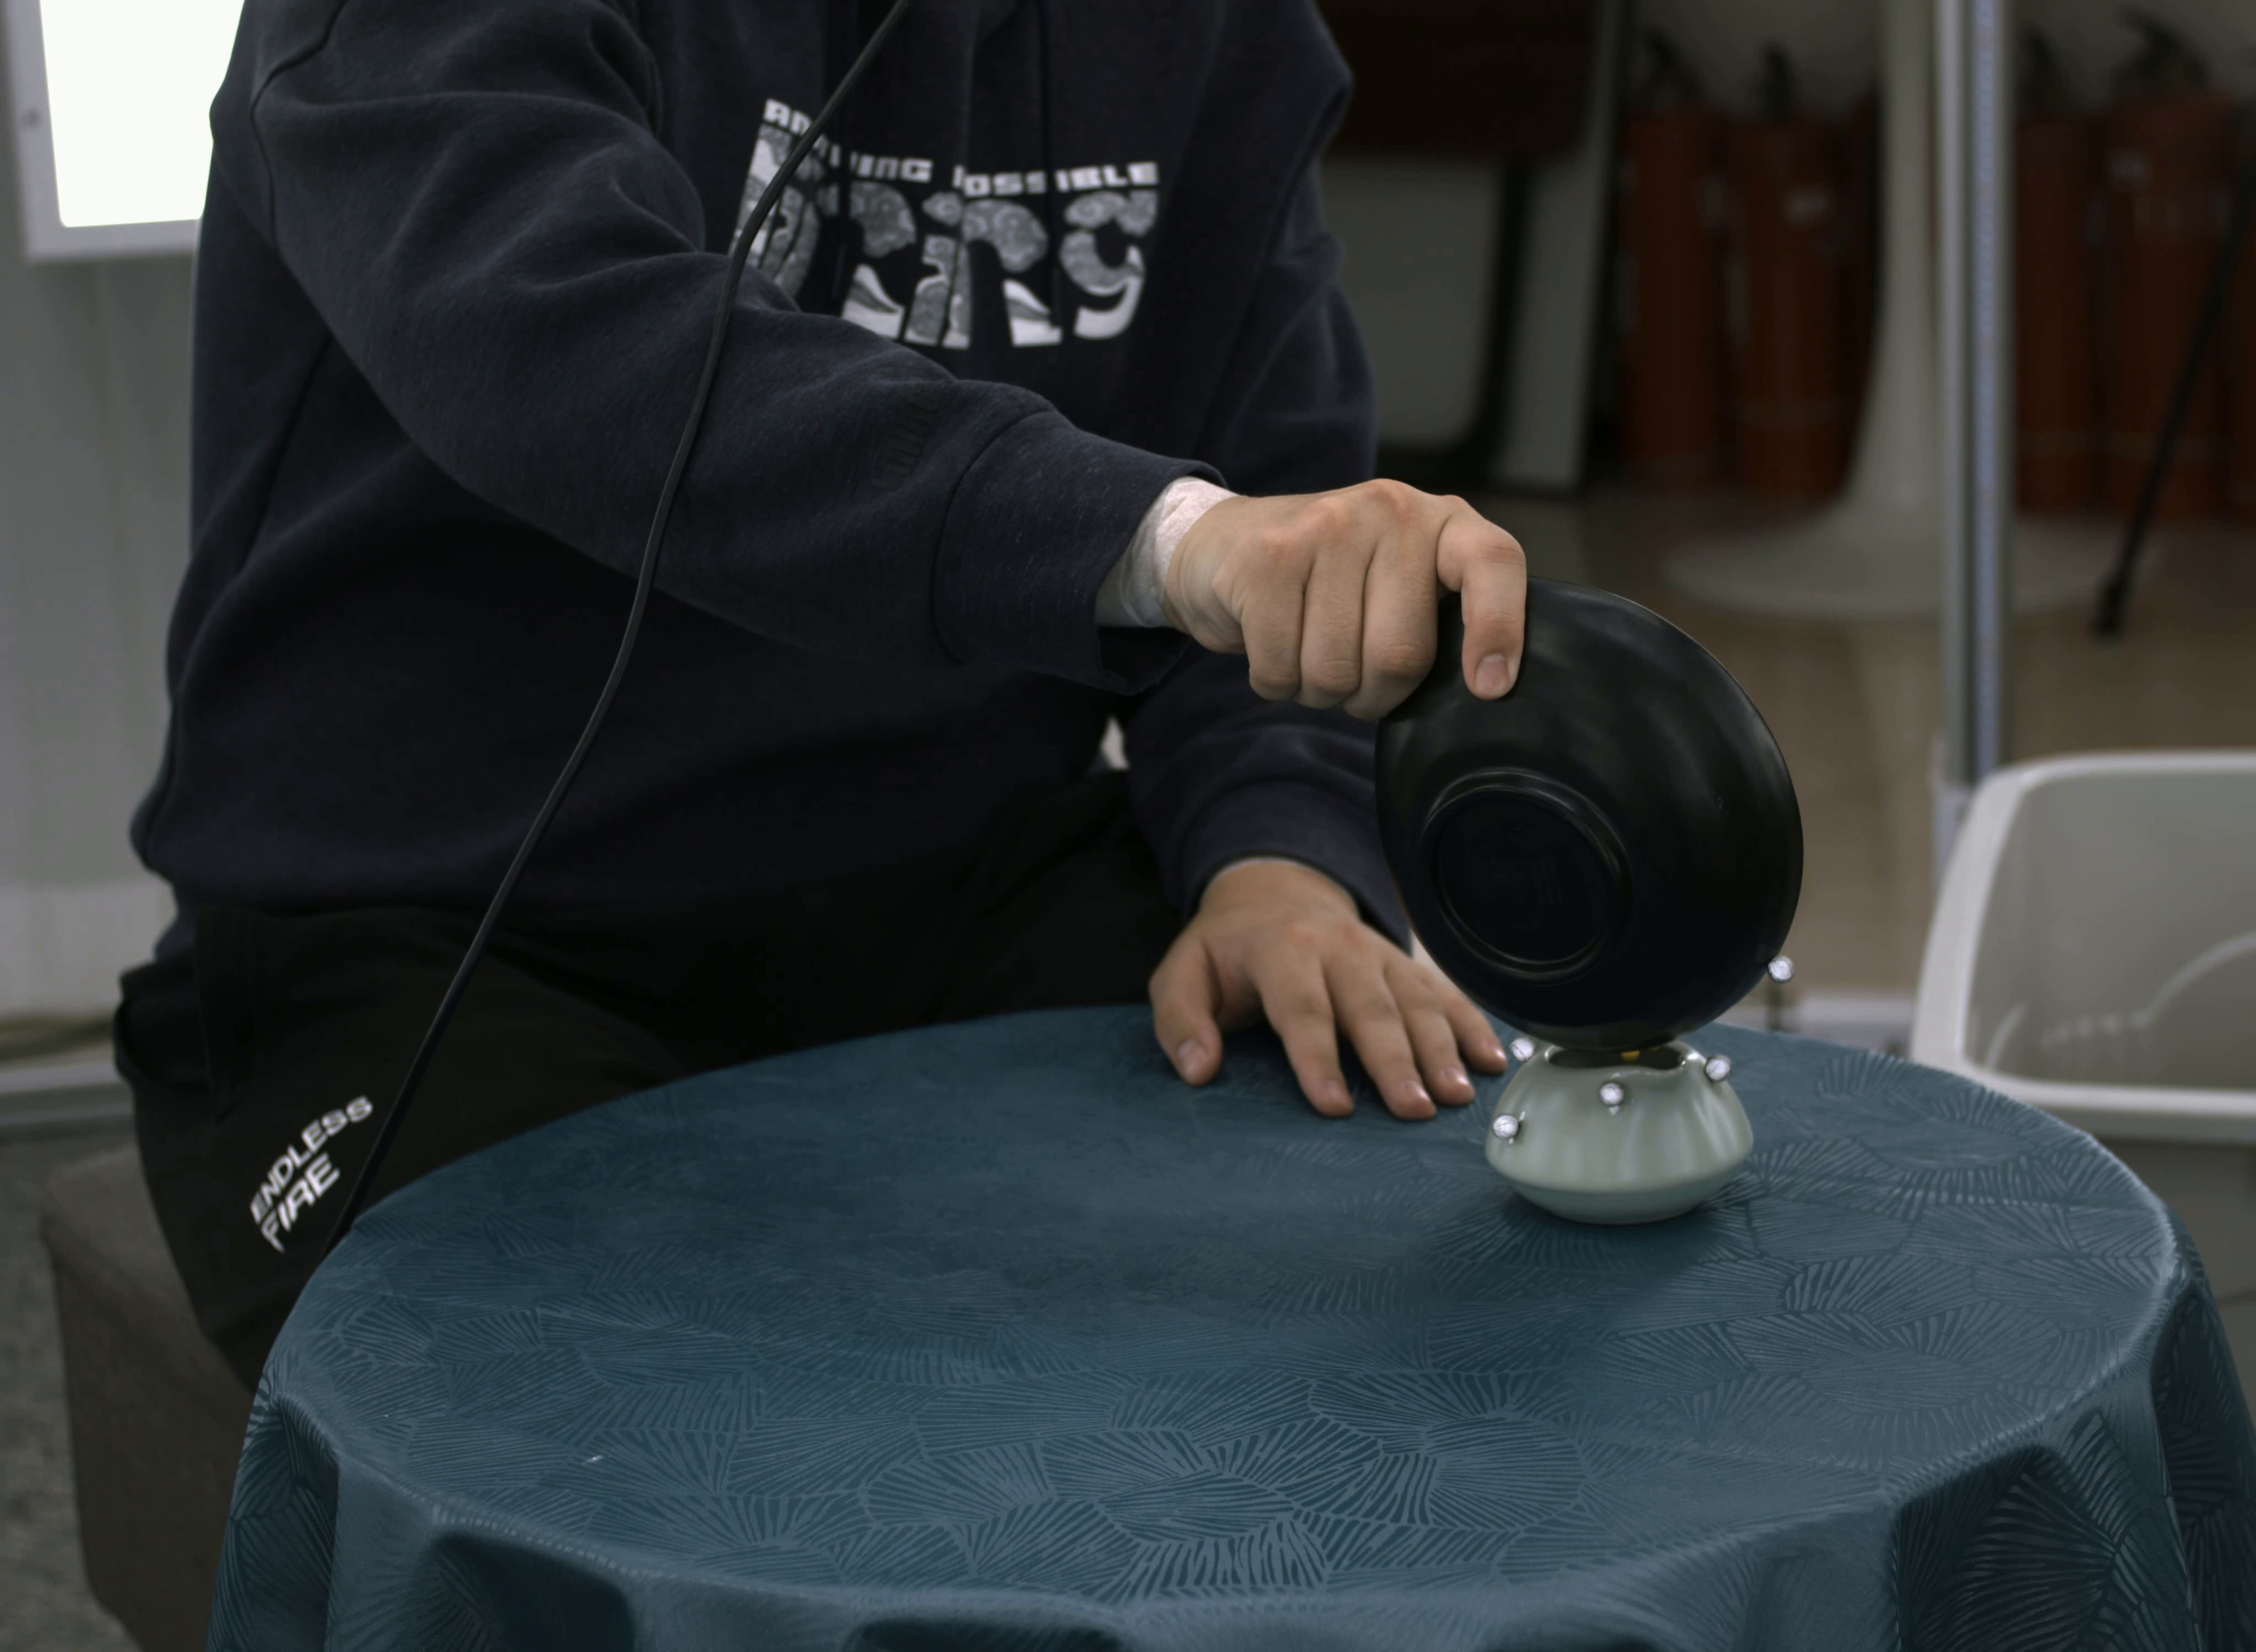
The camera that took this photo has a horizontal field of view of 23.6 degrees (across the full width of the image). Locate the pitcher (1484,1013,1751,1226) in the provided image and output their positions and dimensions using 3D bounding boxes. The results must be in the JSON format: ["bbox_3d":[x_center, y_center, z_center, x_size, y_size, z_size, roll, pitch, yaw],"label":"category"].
[{"bbox_3d":[0.152,0.092,1.734,0.084,0.061,0.109,-8,13,-20],"label":"pitcher"}]

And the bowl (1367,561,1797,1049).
[{"bbox_3d":[0.131,0.003,1.654,0.138,0.171,0.066,-2,27,30],"label":"bowl"}]
